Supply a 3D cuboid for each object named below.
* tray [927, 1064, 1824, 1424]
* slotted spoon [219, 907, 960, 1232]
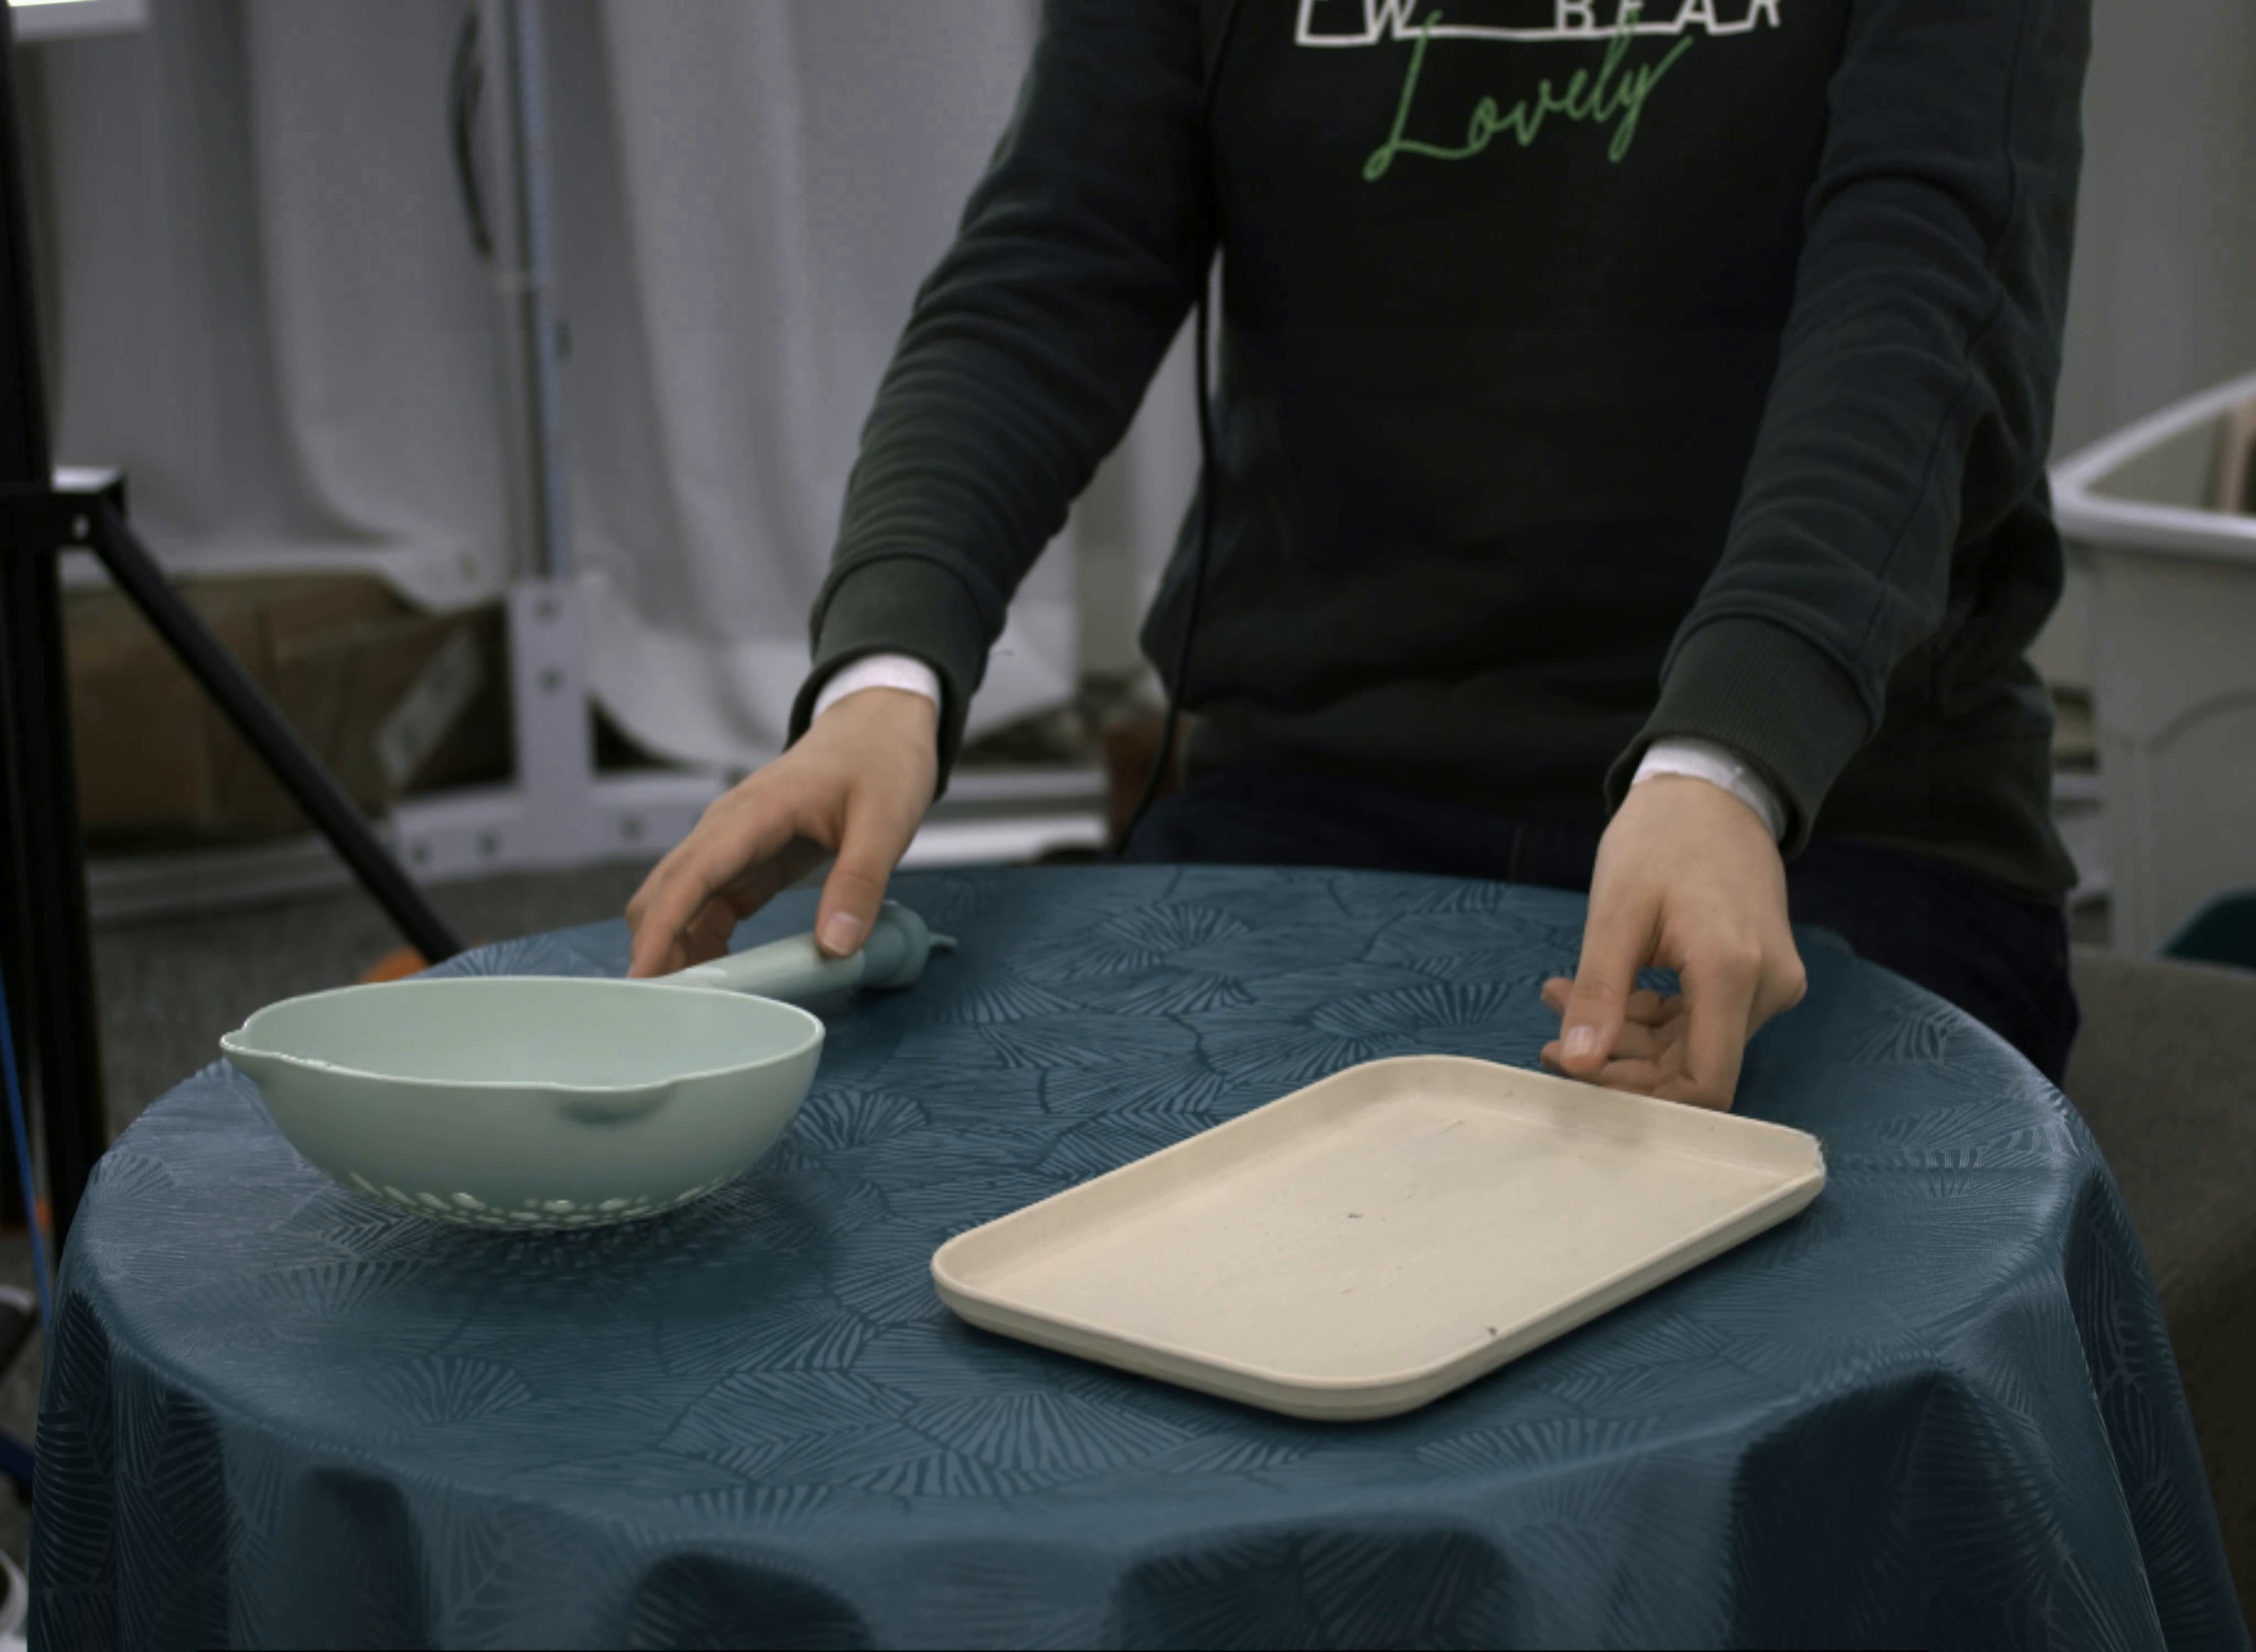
[{"bbox_3d":[0.072,0.116,1.489,0.175,0.017,0.234,11,20,40],"label":"tray"},{"bbox_3d":[-0.134,0.059,1.638,0.172,0.075,0.354,5,17,23],"label":"slotted spoon"}]
